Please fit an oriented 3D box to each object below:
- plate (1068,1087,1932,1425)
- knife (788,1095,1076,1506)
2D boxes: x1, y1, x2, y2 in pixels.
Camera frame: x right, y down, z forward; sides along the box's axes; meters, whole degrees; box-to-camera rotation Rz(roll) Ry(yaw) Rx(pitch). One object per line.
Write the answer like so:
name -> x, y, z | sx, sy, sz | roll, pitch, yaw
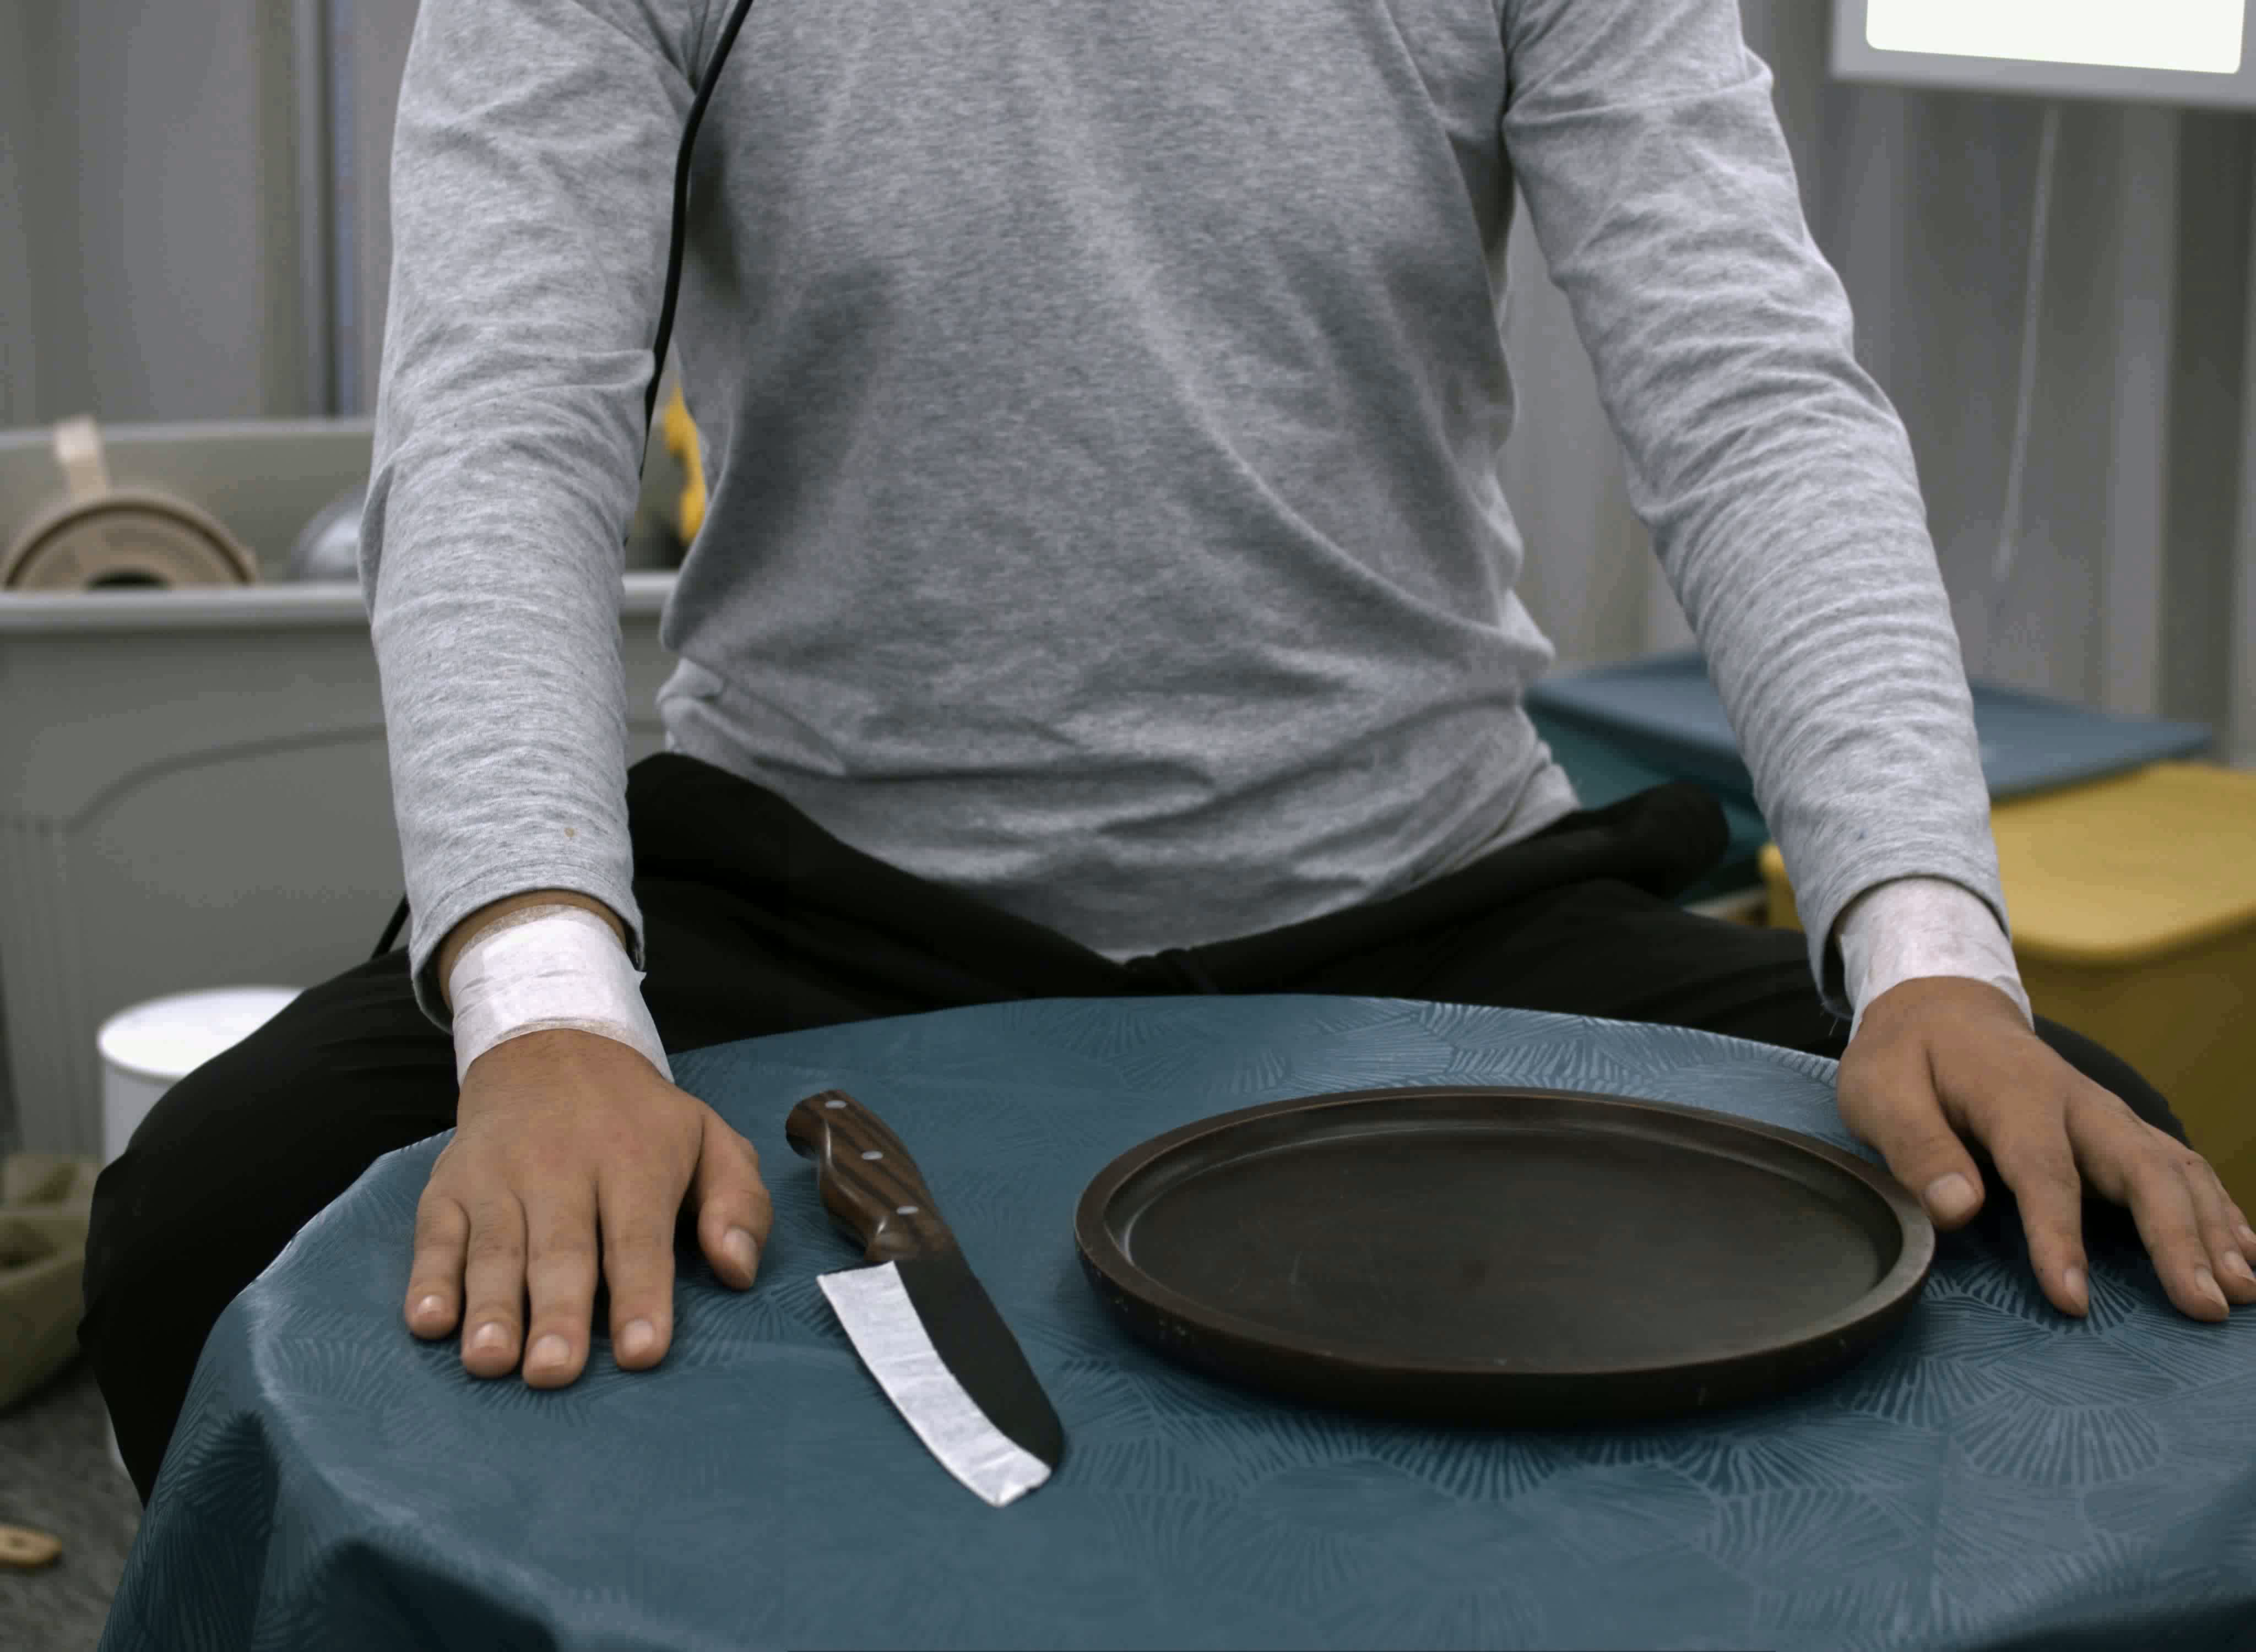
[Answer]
plate -> 0.109, 0.123, 1.543 | 0.254, 0.029, 0.253 | -1, 14, 1
knife -> -0.062, 0.135, 1.513 | 0.050, 0.020, 0.286 | -8, 19, -11
